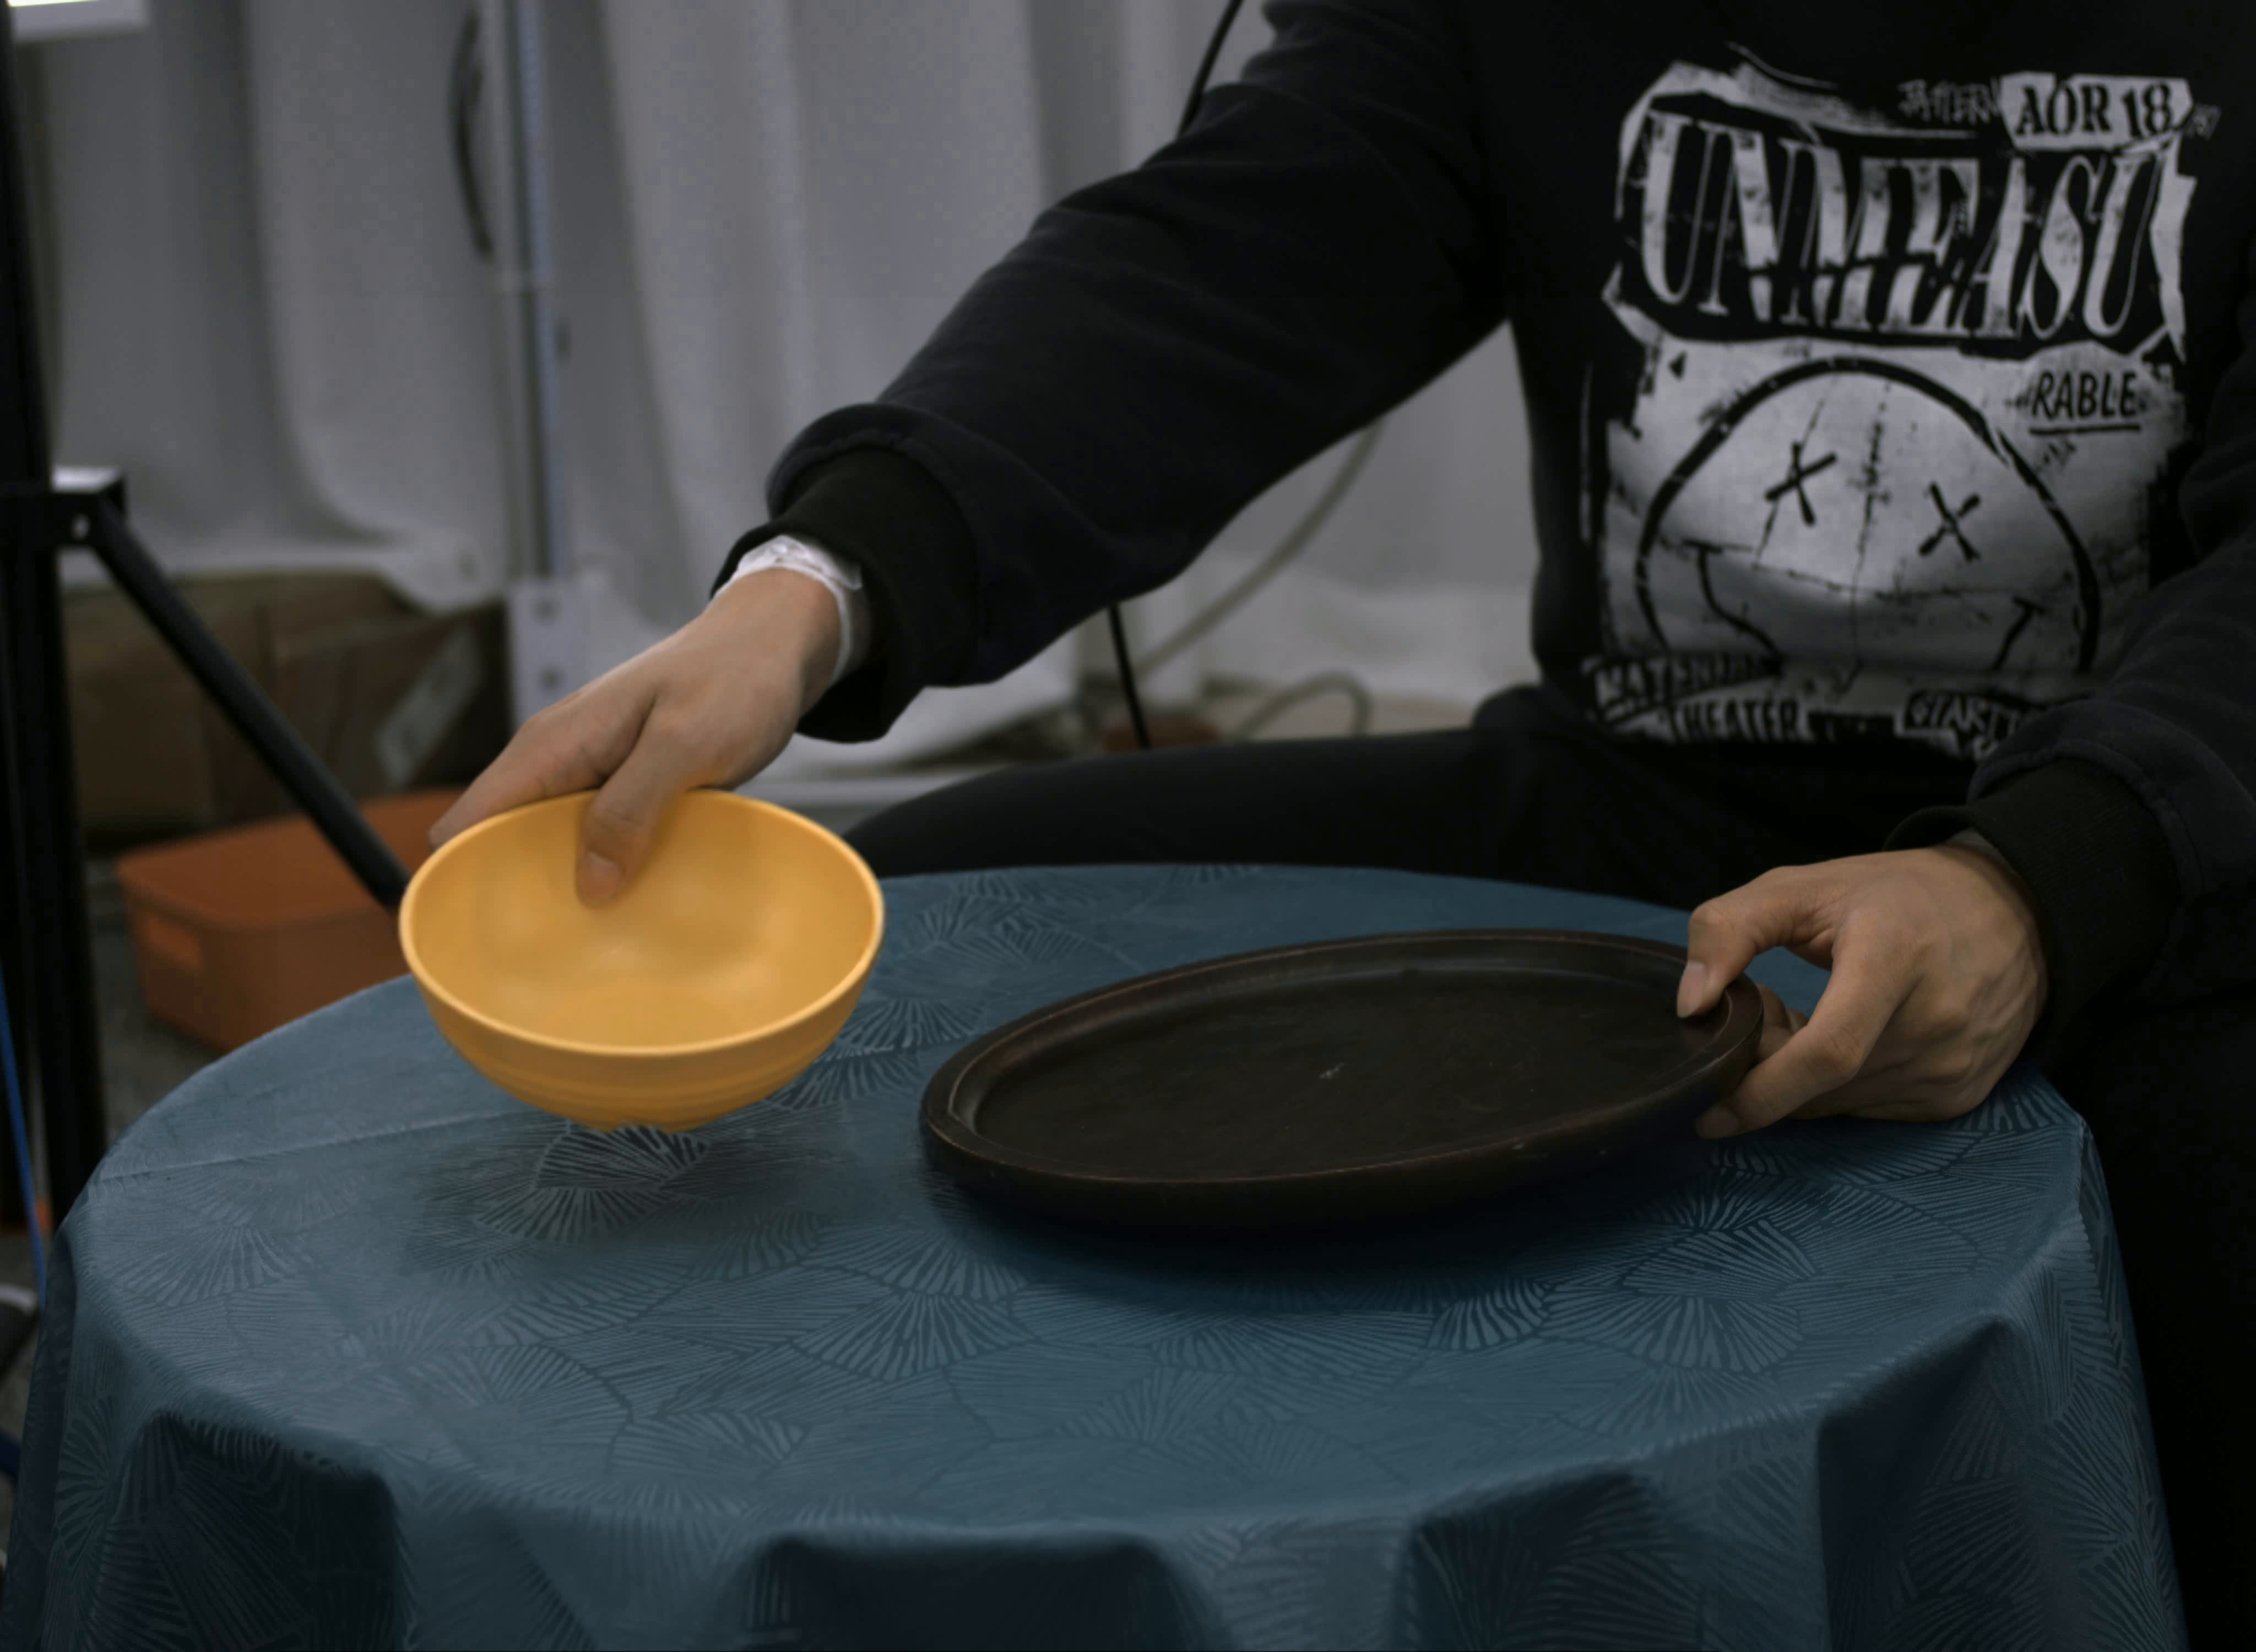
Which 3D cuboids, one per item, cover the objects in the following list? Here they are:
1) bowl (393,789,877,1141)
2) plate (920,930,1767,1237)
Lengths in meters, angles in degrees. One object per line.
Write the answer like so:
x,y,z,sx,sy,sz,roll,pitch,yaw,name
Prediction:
-0.149,0.052,1.604,0.144,0.060,0.146,3,32,-3,bowl
0.065,0.075,1.579,0.253,0.029,0.256,-8,12,0,plate
